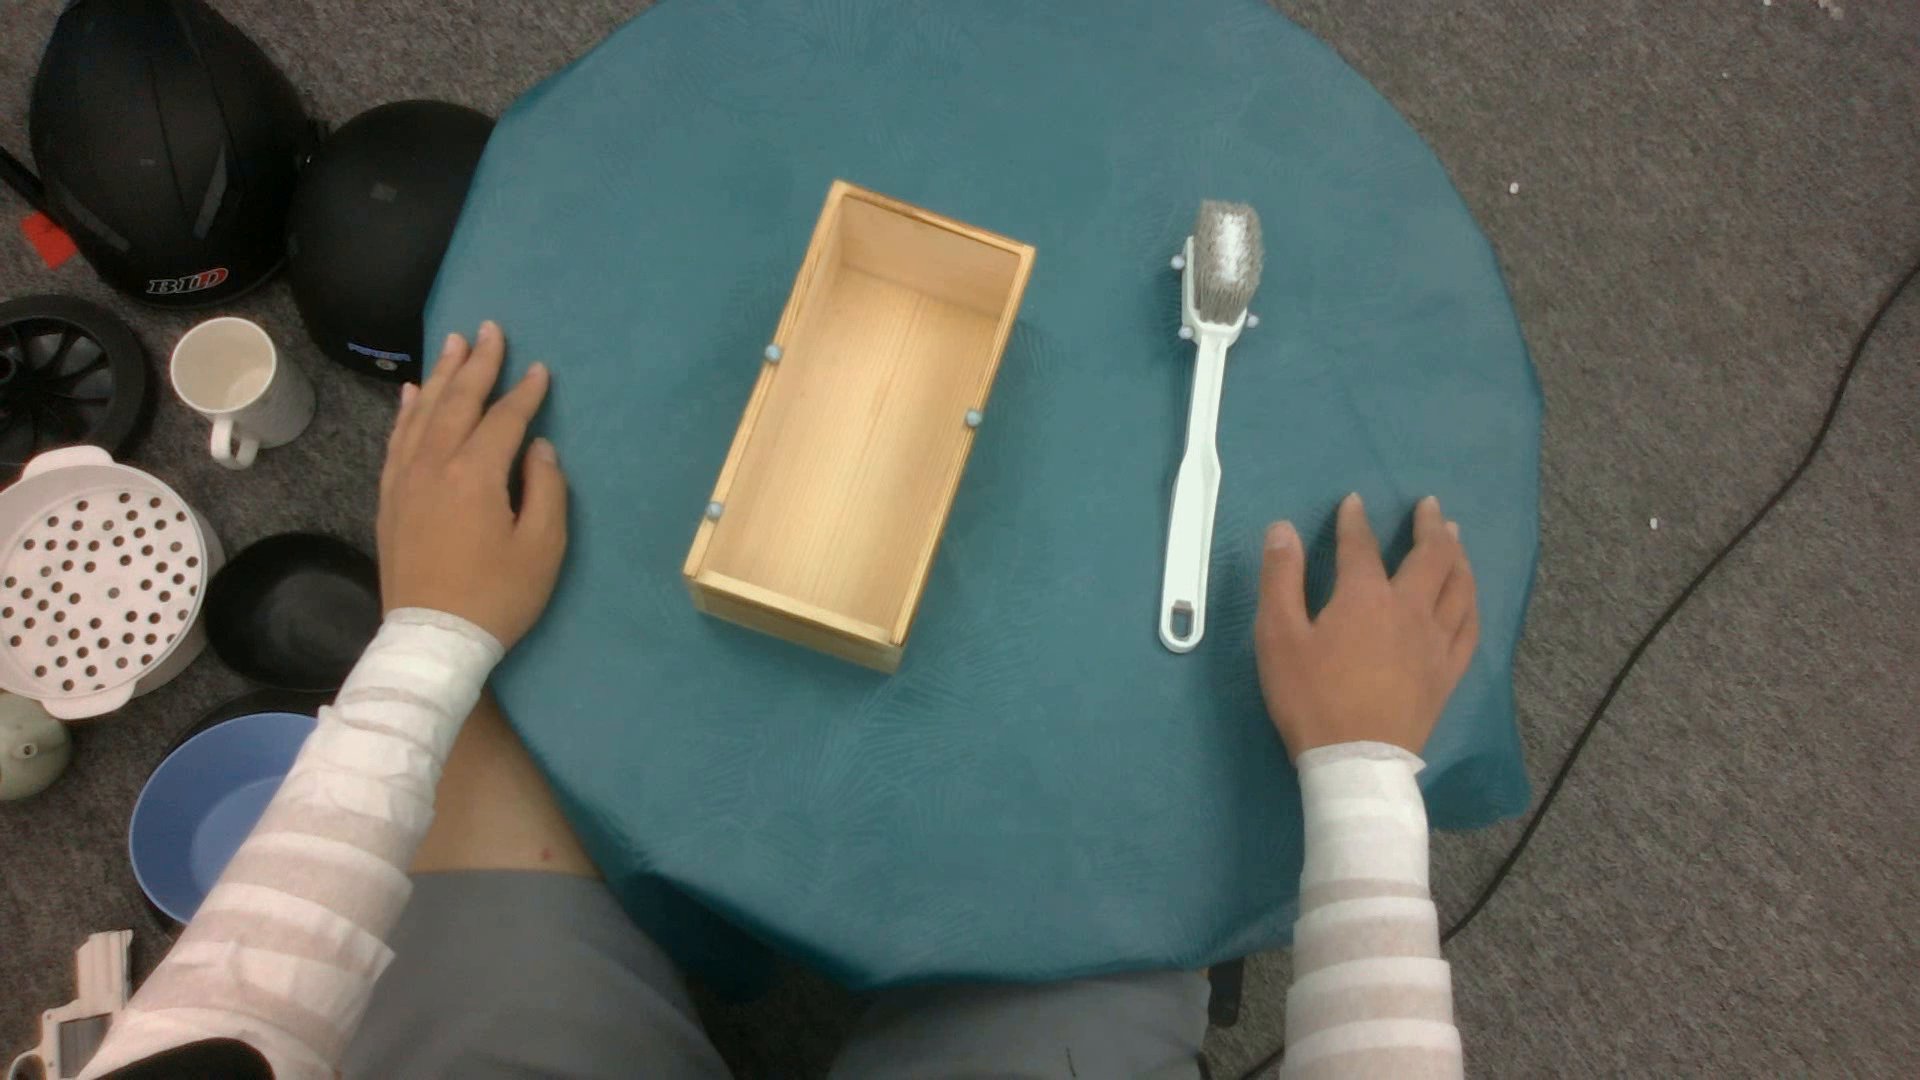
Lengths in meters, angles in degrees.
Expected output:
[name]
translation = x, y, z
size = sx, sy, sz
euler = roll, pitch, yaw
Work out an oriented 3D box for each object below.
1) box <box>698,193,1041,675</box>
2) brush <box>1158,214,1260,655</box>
[box]
translation = -0.043, -0.052, 0.697
size = 0.107, 0.080, 0.212
euler = 18, 75, -1
[brush]
translation = 0.131, -0.061, 0.731
size = 0.034, 0.050, 0.244
euler = 9, 73, -3
